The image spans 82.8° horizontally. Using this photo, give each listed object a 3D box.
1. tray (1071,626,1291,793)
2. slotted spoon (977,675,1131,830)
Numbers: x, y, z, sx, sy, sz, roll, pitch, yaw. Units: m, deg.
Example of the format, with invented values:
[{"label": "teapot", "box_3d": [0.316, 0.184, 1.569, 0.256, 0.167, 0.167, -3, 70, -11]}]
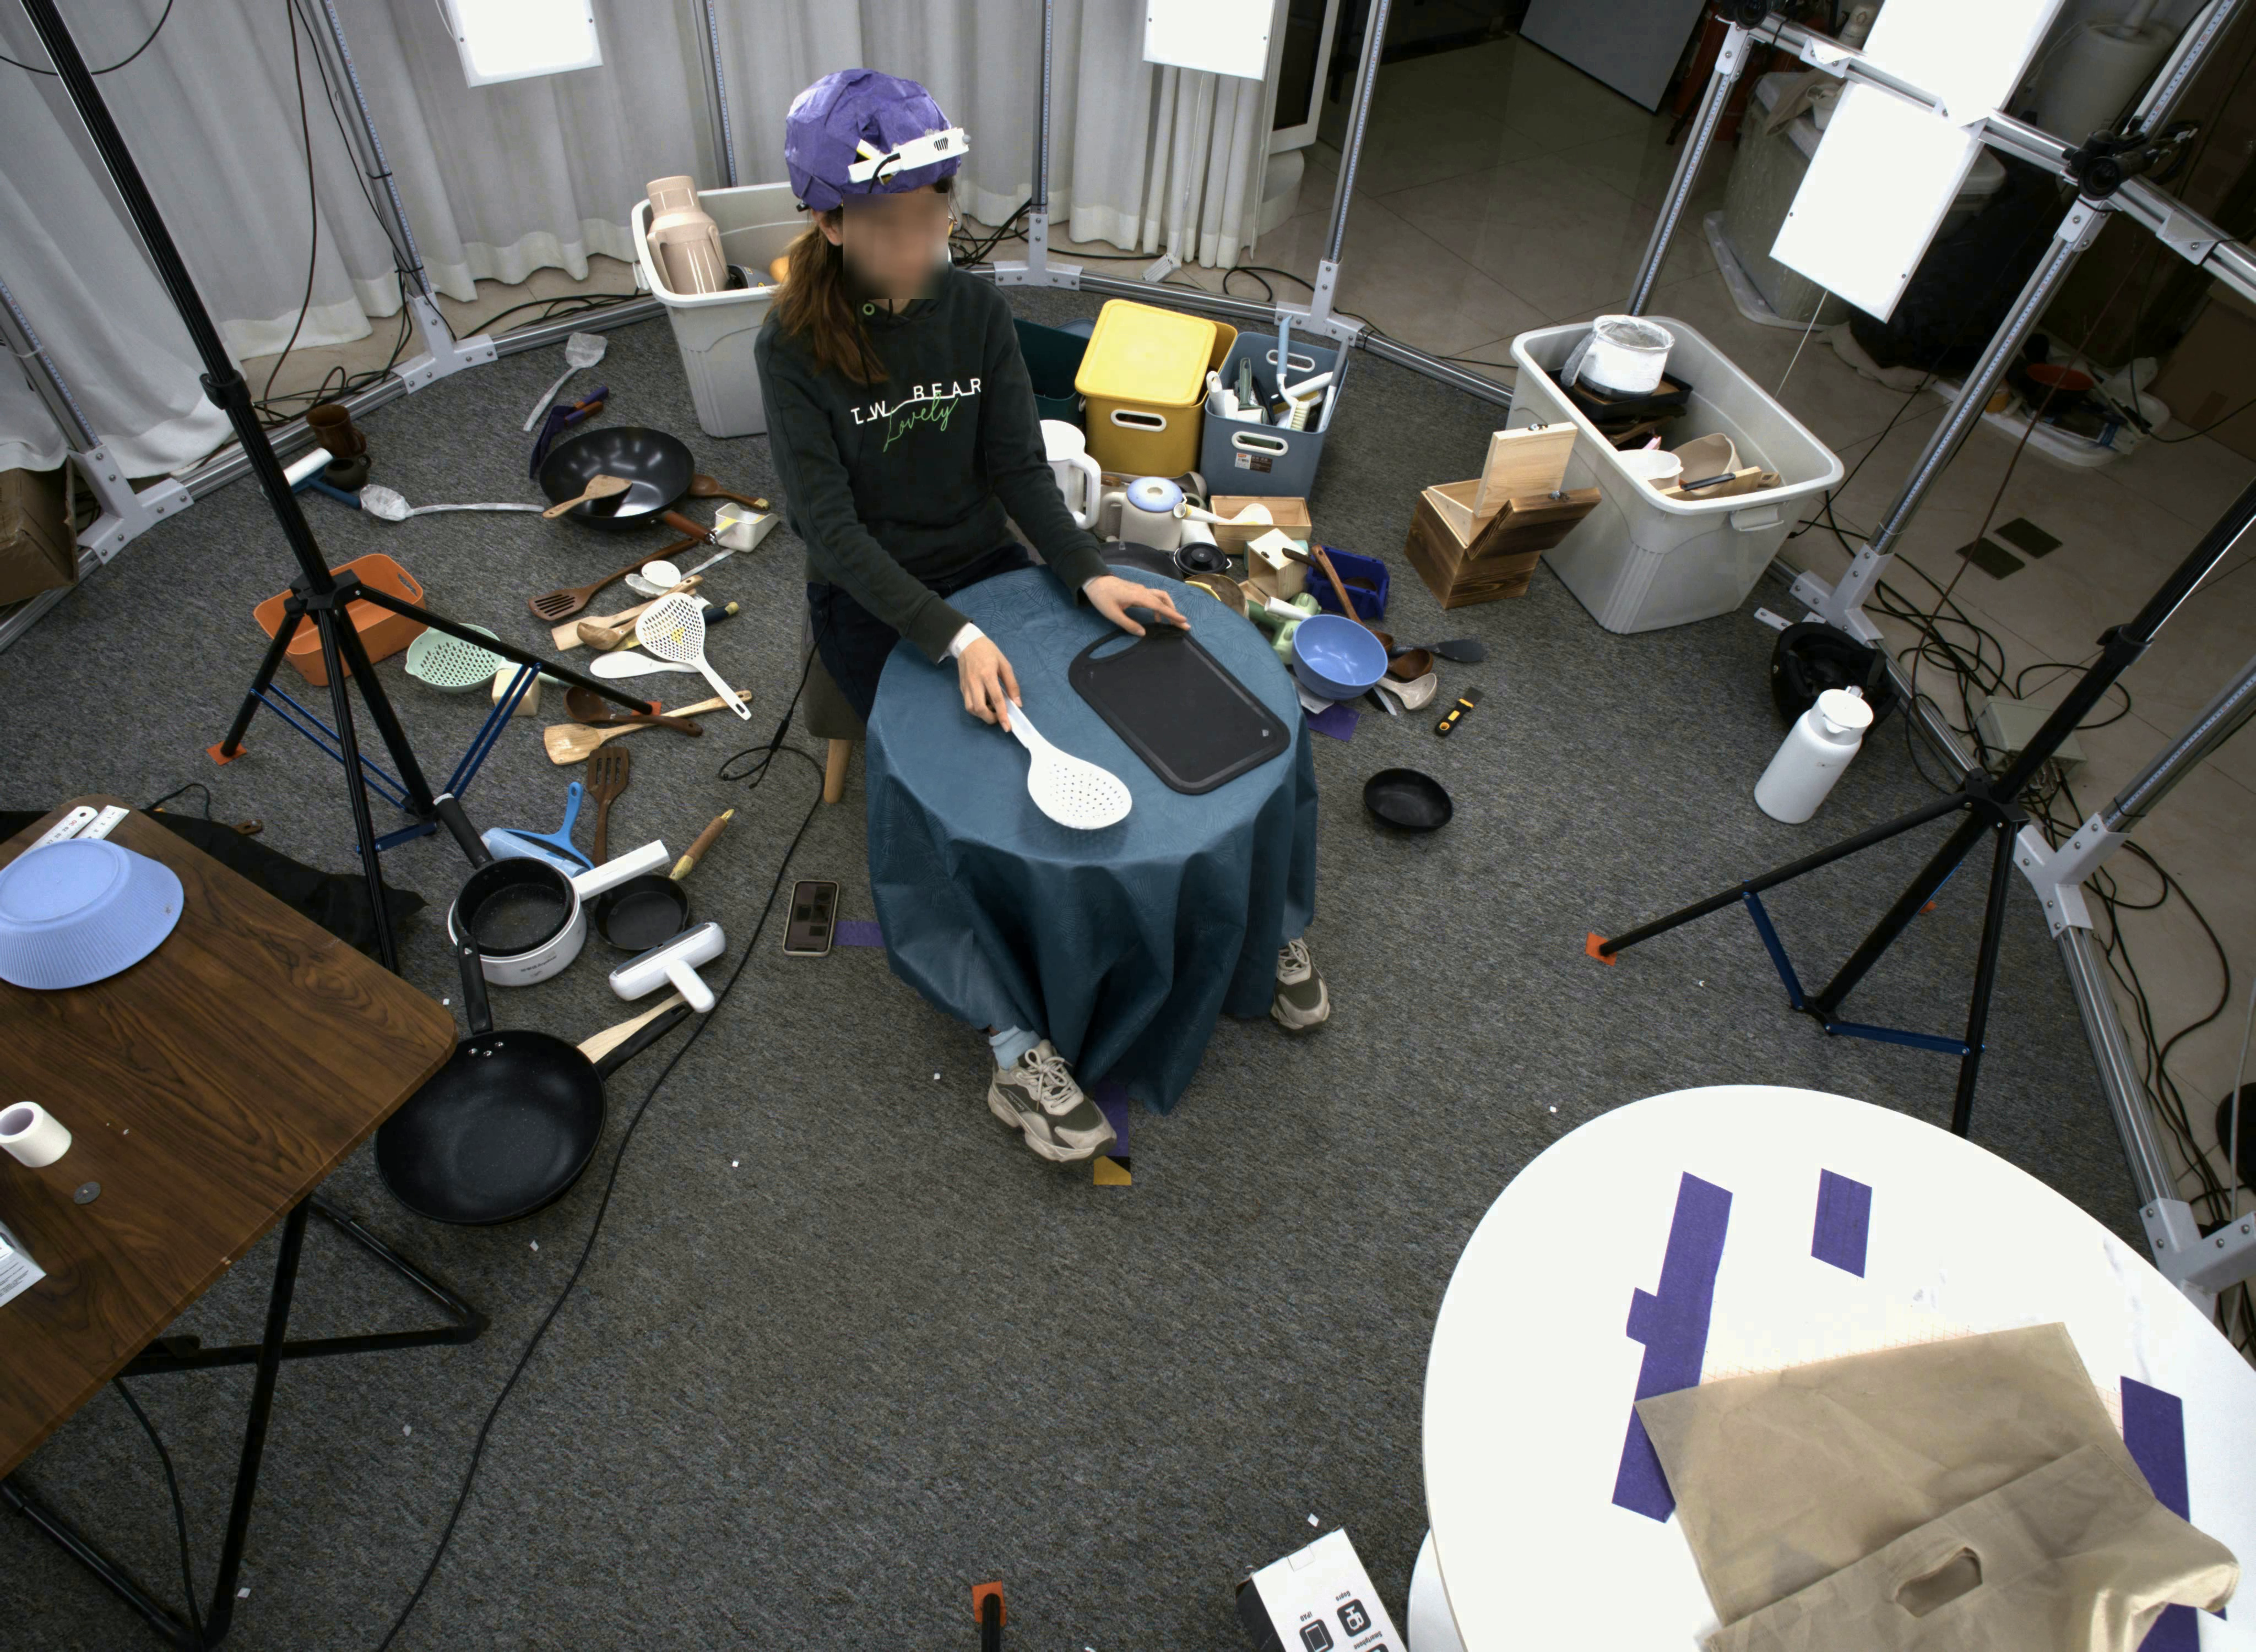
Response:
[{"label": "tray", "box_3d": [0.068, -0.179, 1.839, 0.212, 0.009, 0.331, -26, 55, -24]}, {"label": "slotted spoon", "box_3d": [-0.118, -0.104, 1.735, 0.136, 0.045, 0.357, -9, 47, -33]}]
